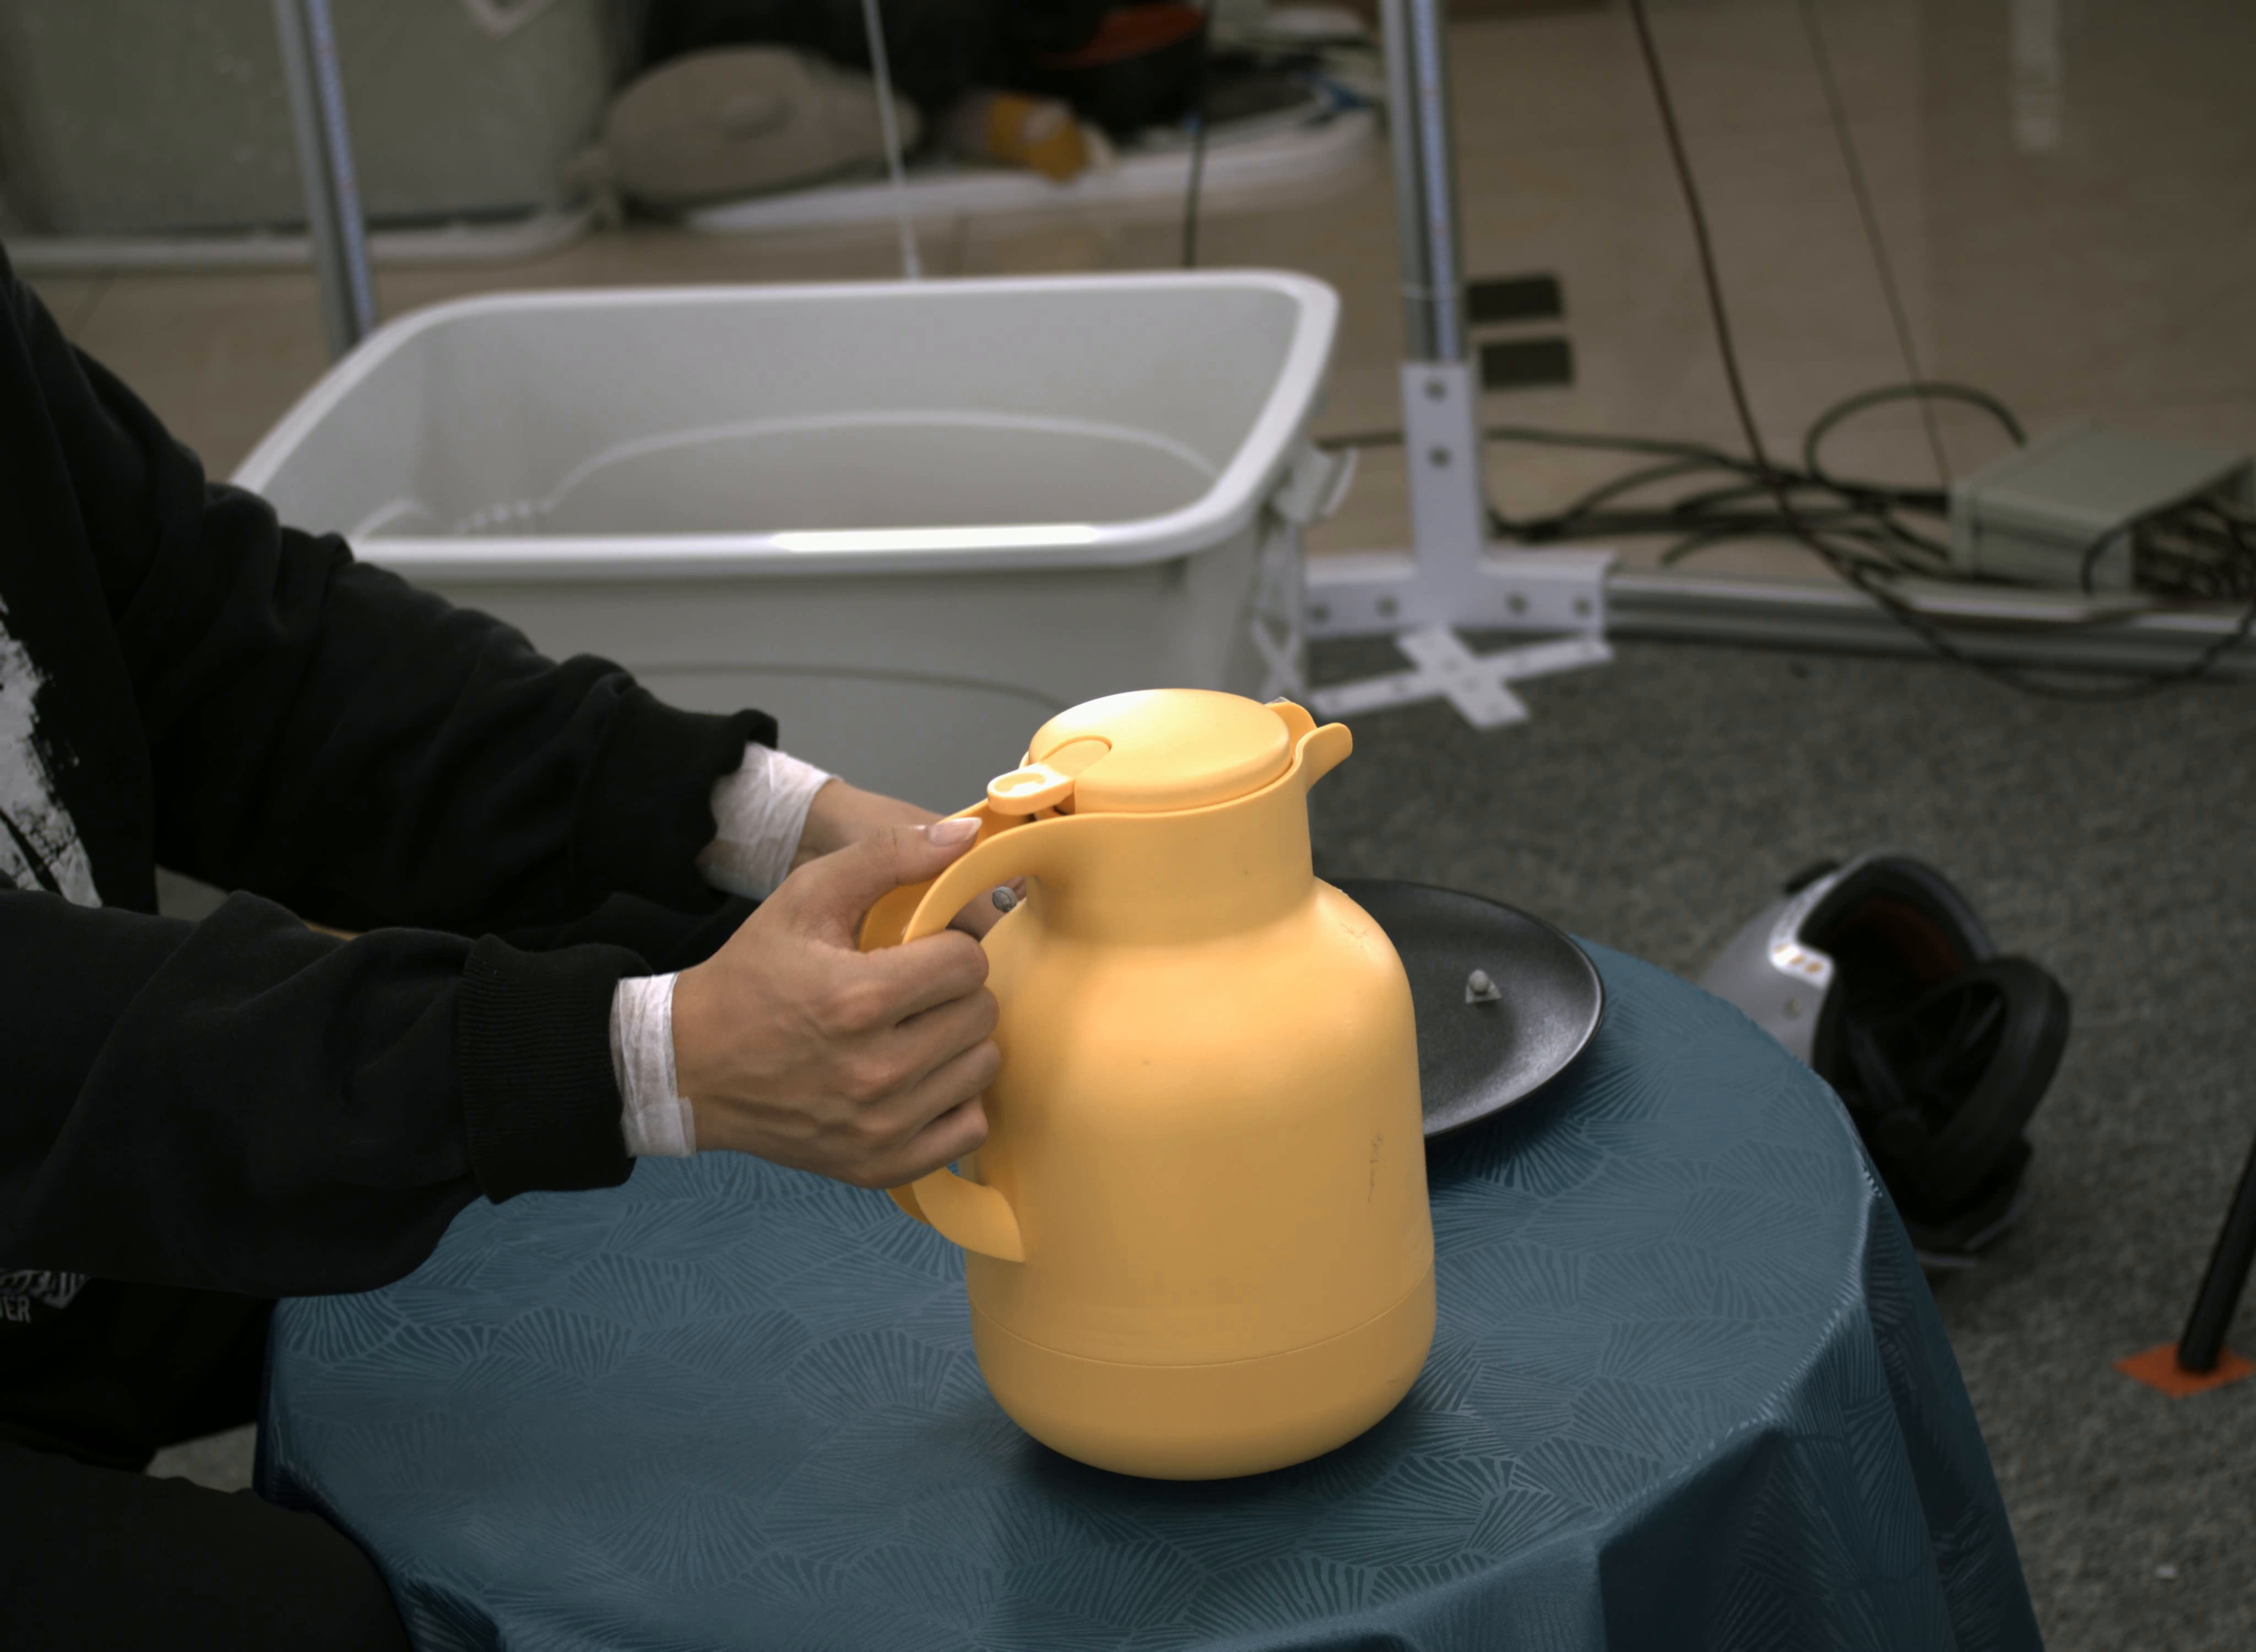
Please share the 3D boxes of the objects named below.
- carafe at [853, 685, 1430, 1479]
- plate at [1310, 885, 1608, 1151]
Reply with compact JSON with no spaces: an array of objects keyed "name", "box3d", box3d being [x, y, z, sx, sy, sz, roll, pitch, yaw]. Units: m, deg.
[{"name":"carafe","box3d":[0.001,0.087,1.937,0.201,0.264,0.162,-16,24,-27]},{"name":"plate","box3d":[0.067,0.084,2.224,0.244,0.024,0.241,-5,25,2]}]
